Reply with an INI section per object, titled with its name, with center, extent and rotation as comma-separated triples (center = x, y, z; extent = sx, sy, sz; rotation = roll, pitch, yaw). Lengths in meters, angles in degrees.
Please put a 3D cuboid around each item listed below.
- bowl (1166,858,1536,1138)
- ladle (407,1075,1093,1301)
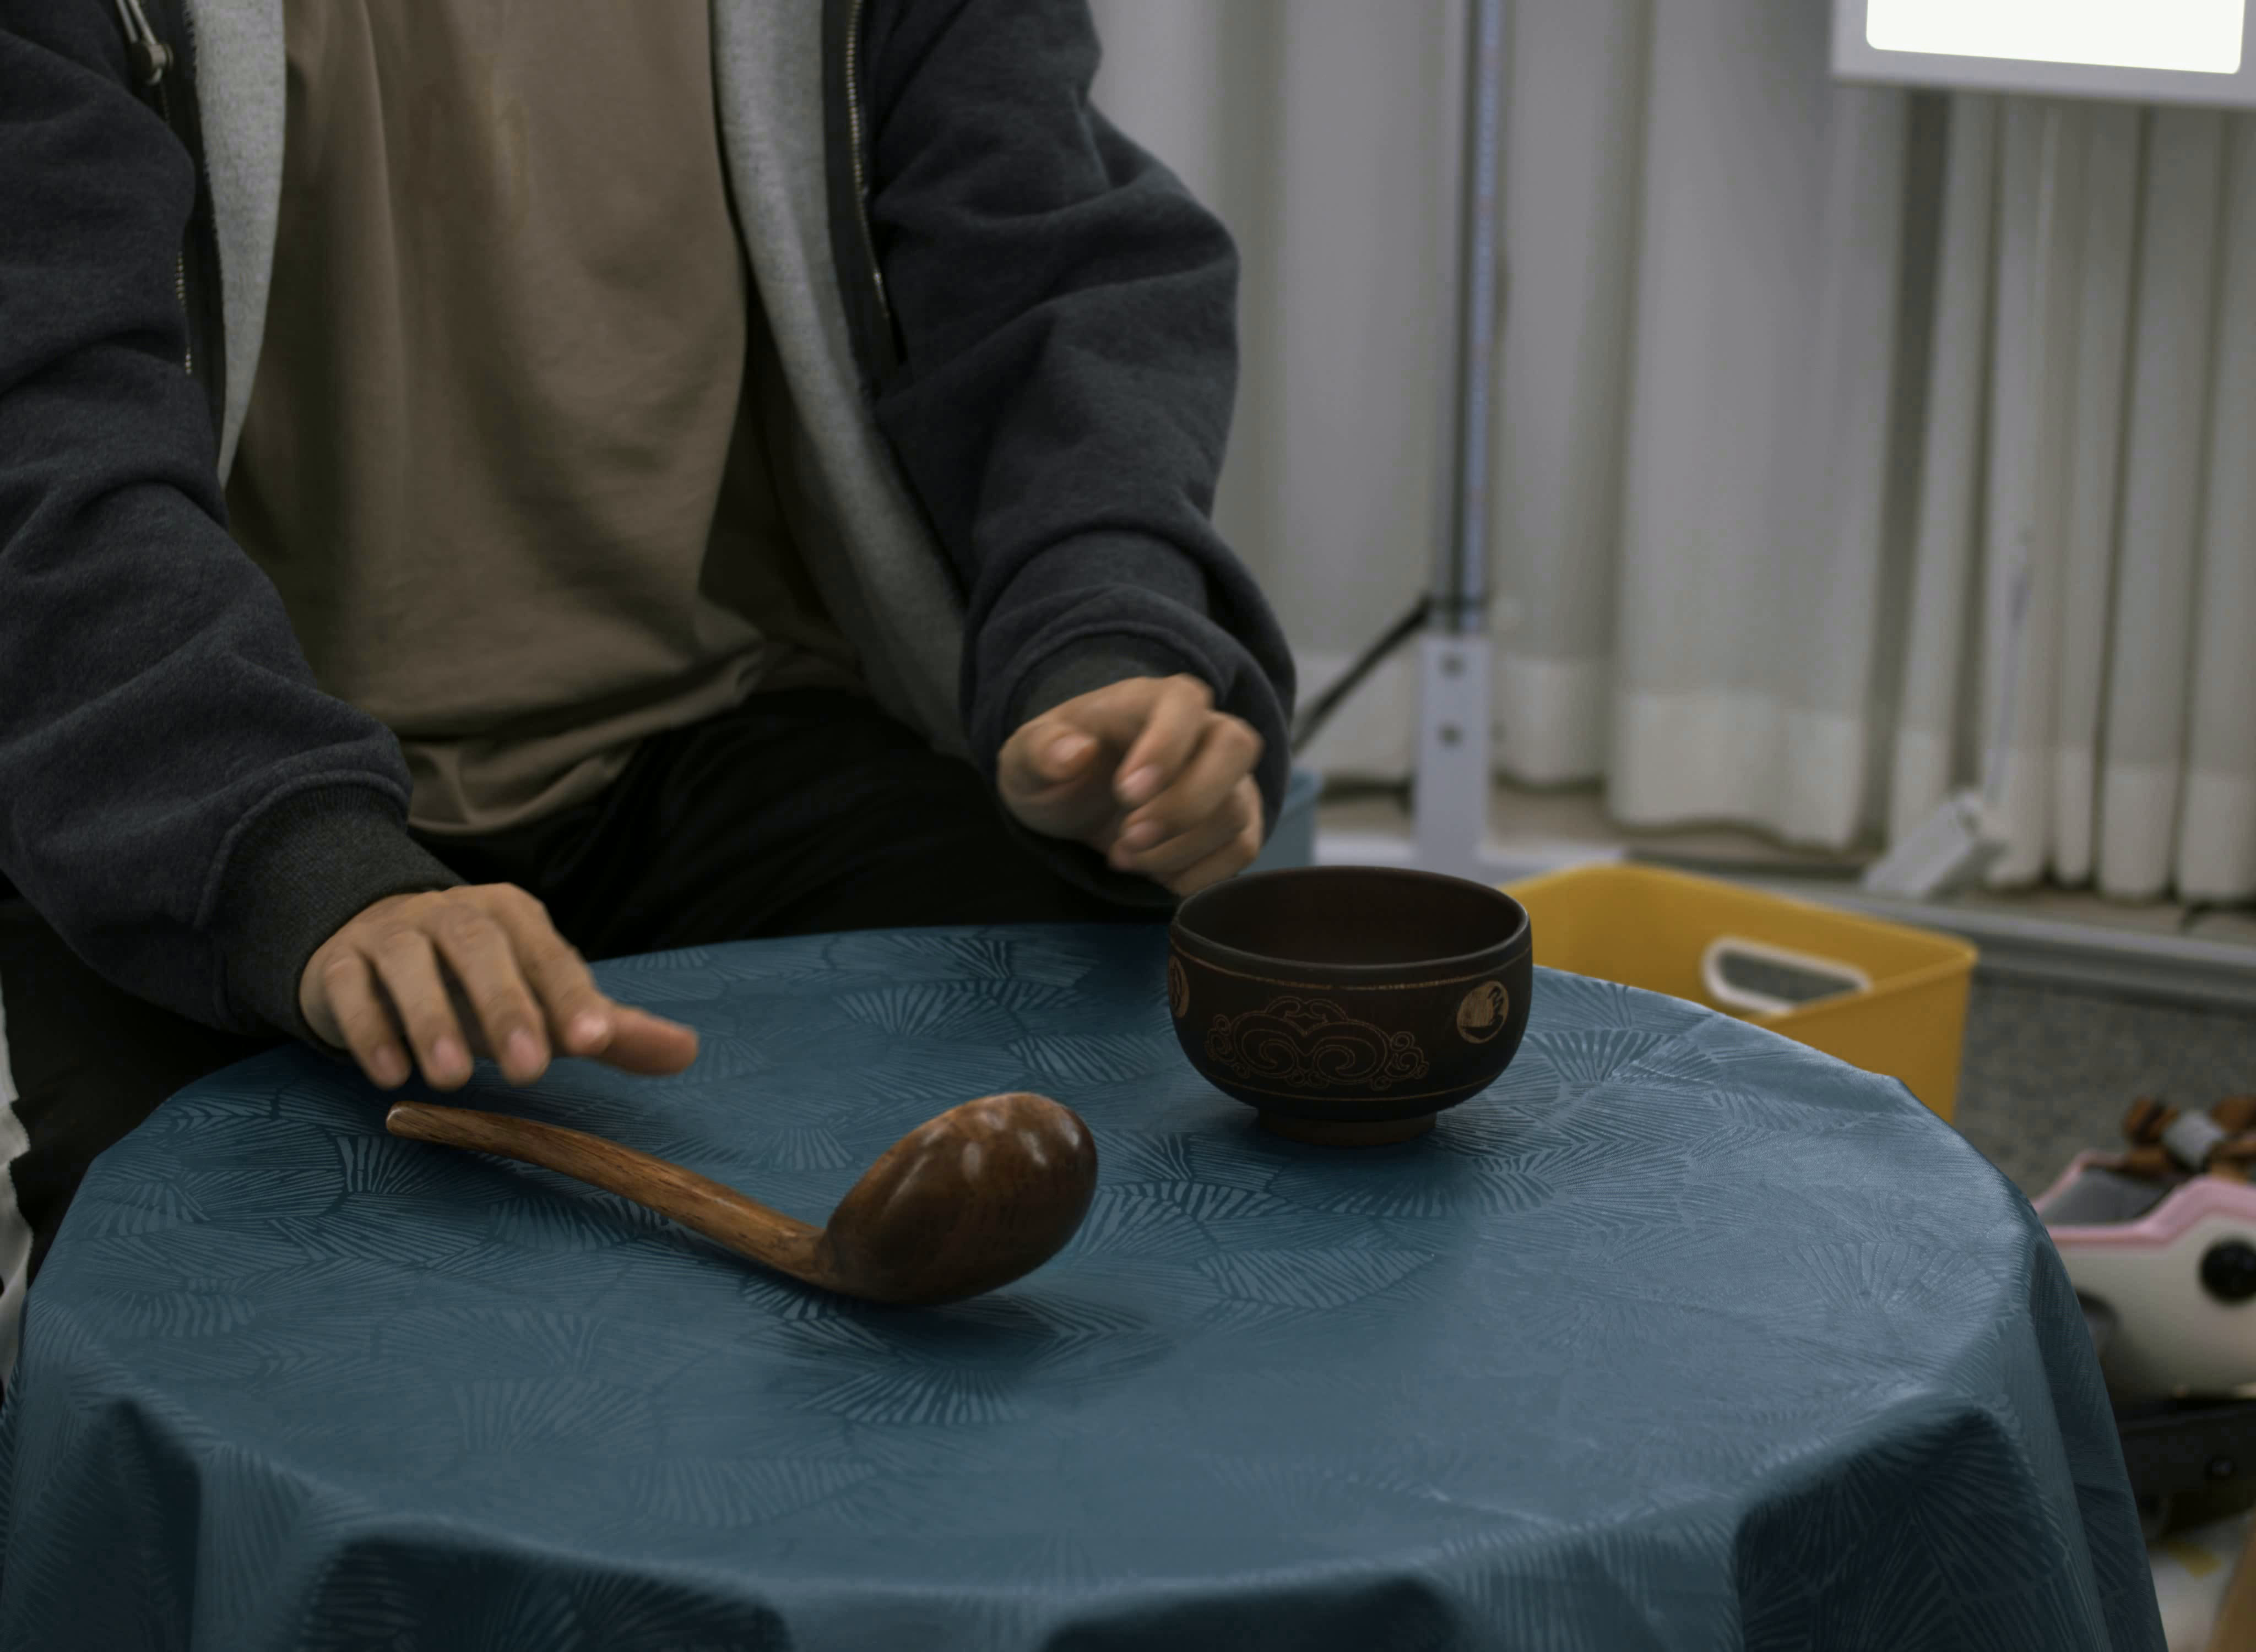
[bowl]
center = 0.071, 0.058, 1.680
extent = 0.117, 0.070, 0.117
rotation = 0, 16, 1
[ladle]
center = -0.121, 0.085, 1.569
extent = 0.270, 0.077, 0.083
rotation = 15, -1, 44
